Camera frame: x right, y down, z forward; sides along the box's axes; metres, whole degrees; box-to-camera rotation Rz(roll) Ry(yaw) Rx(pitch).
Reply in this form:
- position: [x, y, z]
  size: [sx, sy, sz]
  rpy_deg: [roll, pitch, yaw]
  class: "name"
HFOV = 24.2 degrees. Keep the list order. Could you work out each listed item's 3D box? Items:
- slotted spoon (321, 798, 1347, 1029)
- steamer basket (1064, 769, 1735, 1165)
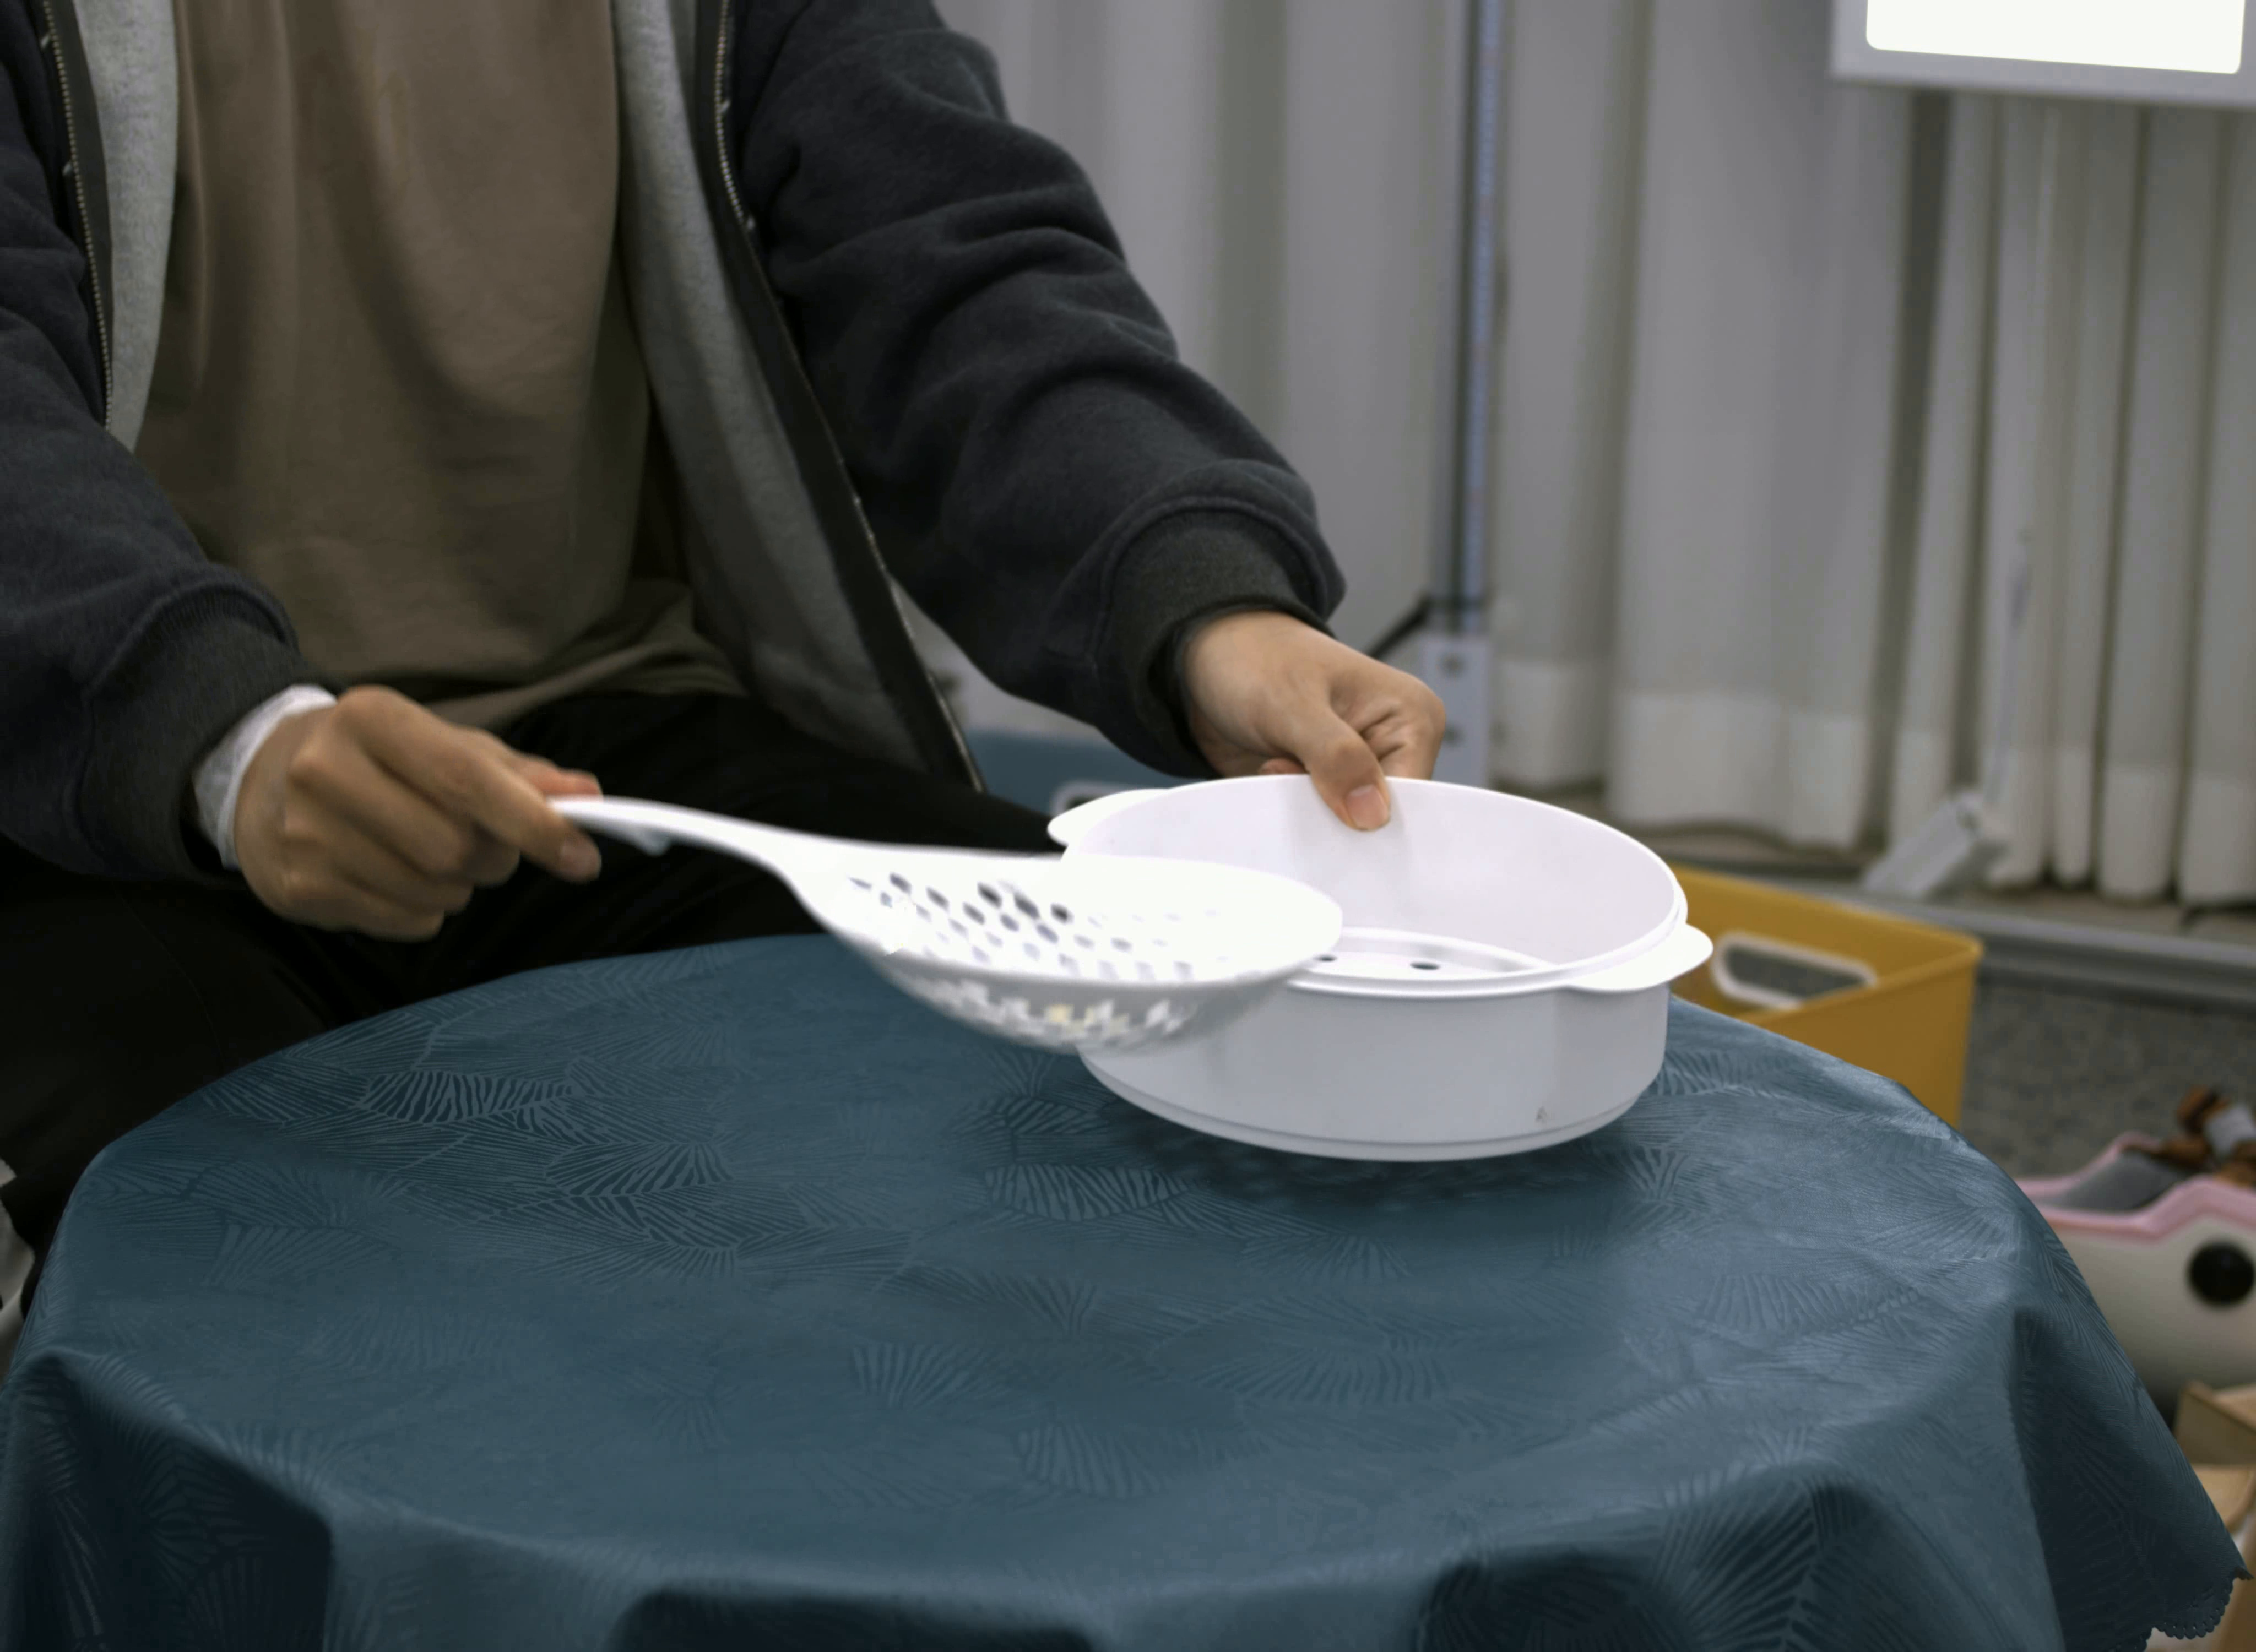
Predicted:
- position: [-0.098, 0.014, 1.546]
  size: [0.343, 0.051, 0.137]
  rpy_deg: [13, 20, 30]
  class: "slotted spoon"
- position: [0.081, 0.045, 1.682]
  size: [0.227, 0.070, 0.202]
  rpy_deg: [18, 23, 30]
  class: "steamer basket"
